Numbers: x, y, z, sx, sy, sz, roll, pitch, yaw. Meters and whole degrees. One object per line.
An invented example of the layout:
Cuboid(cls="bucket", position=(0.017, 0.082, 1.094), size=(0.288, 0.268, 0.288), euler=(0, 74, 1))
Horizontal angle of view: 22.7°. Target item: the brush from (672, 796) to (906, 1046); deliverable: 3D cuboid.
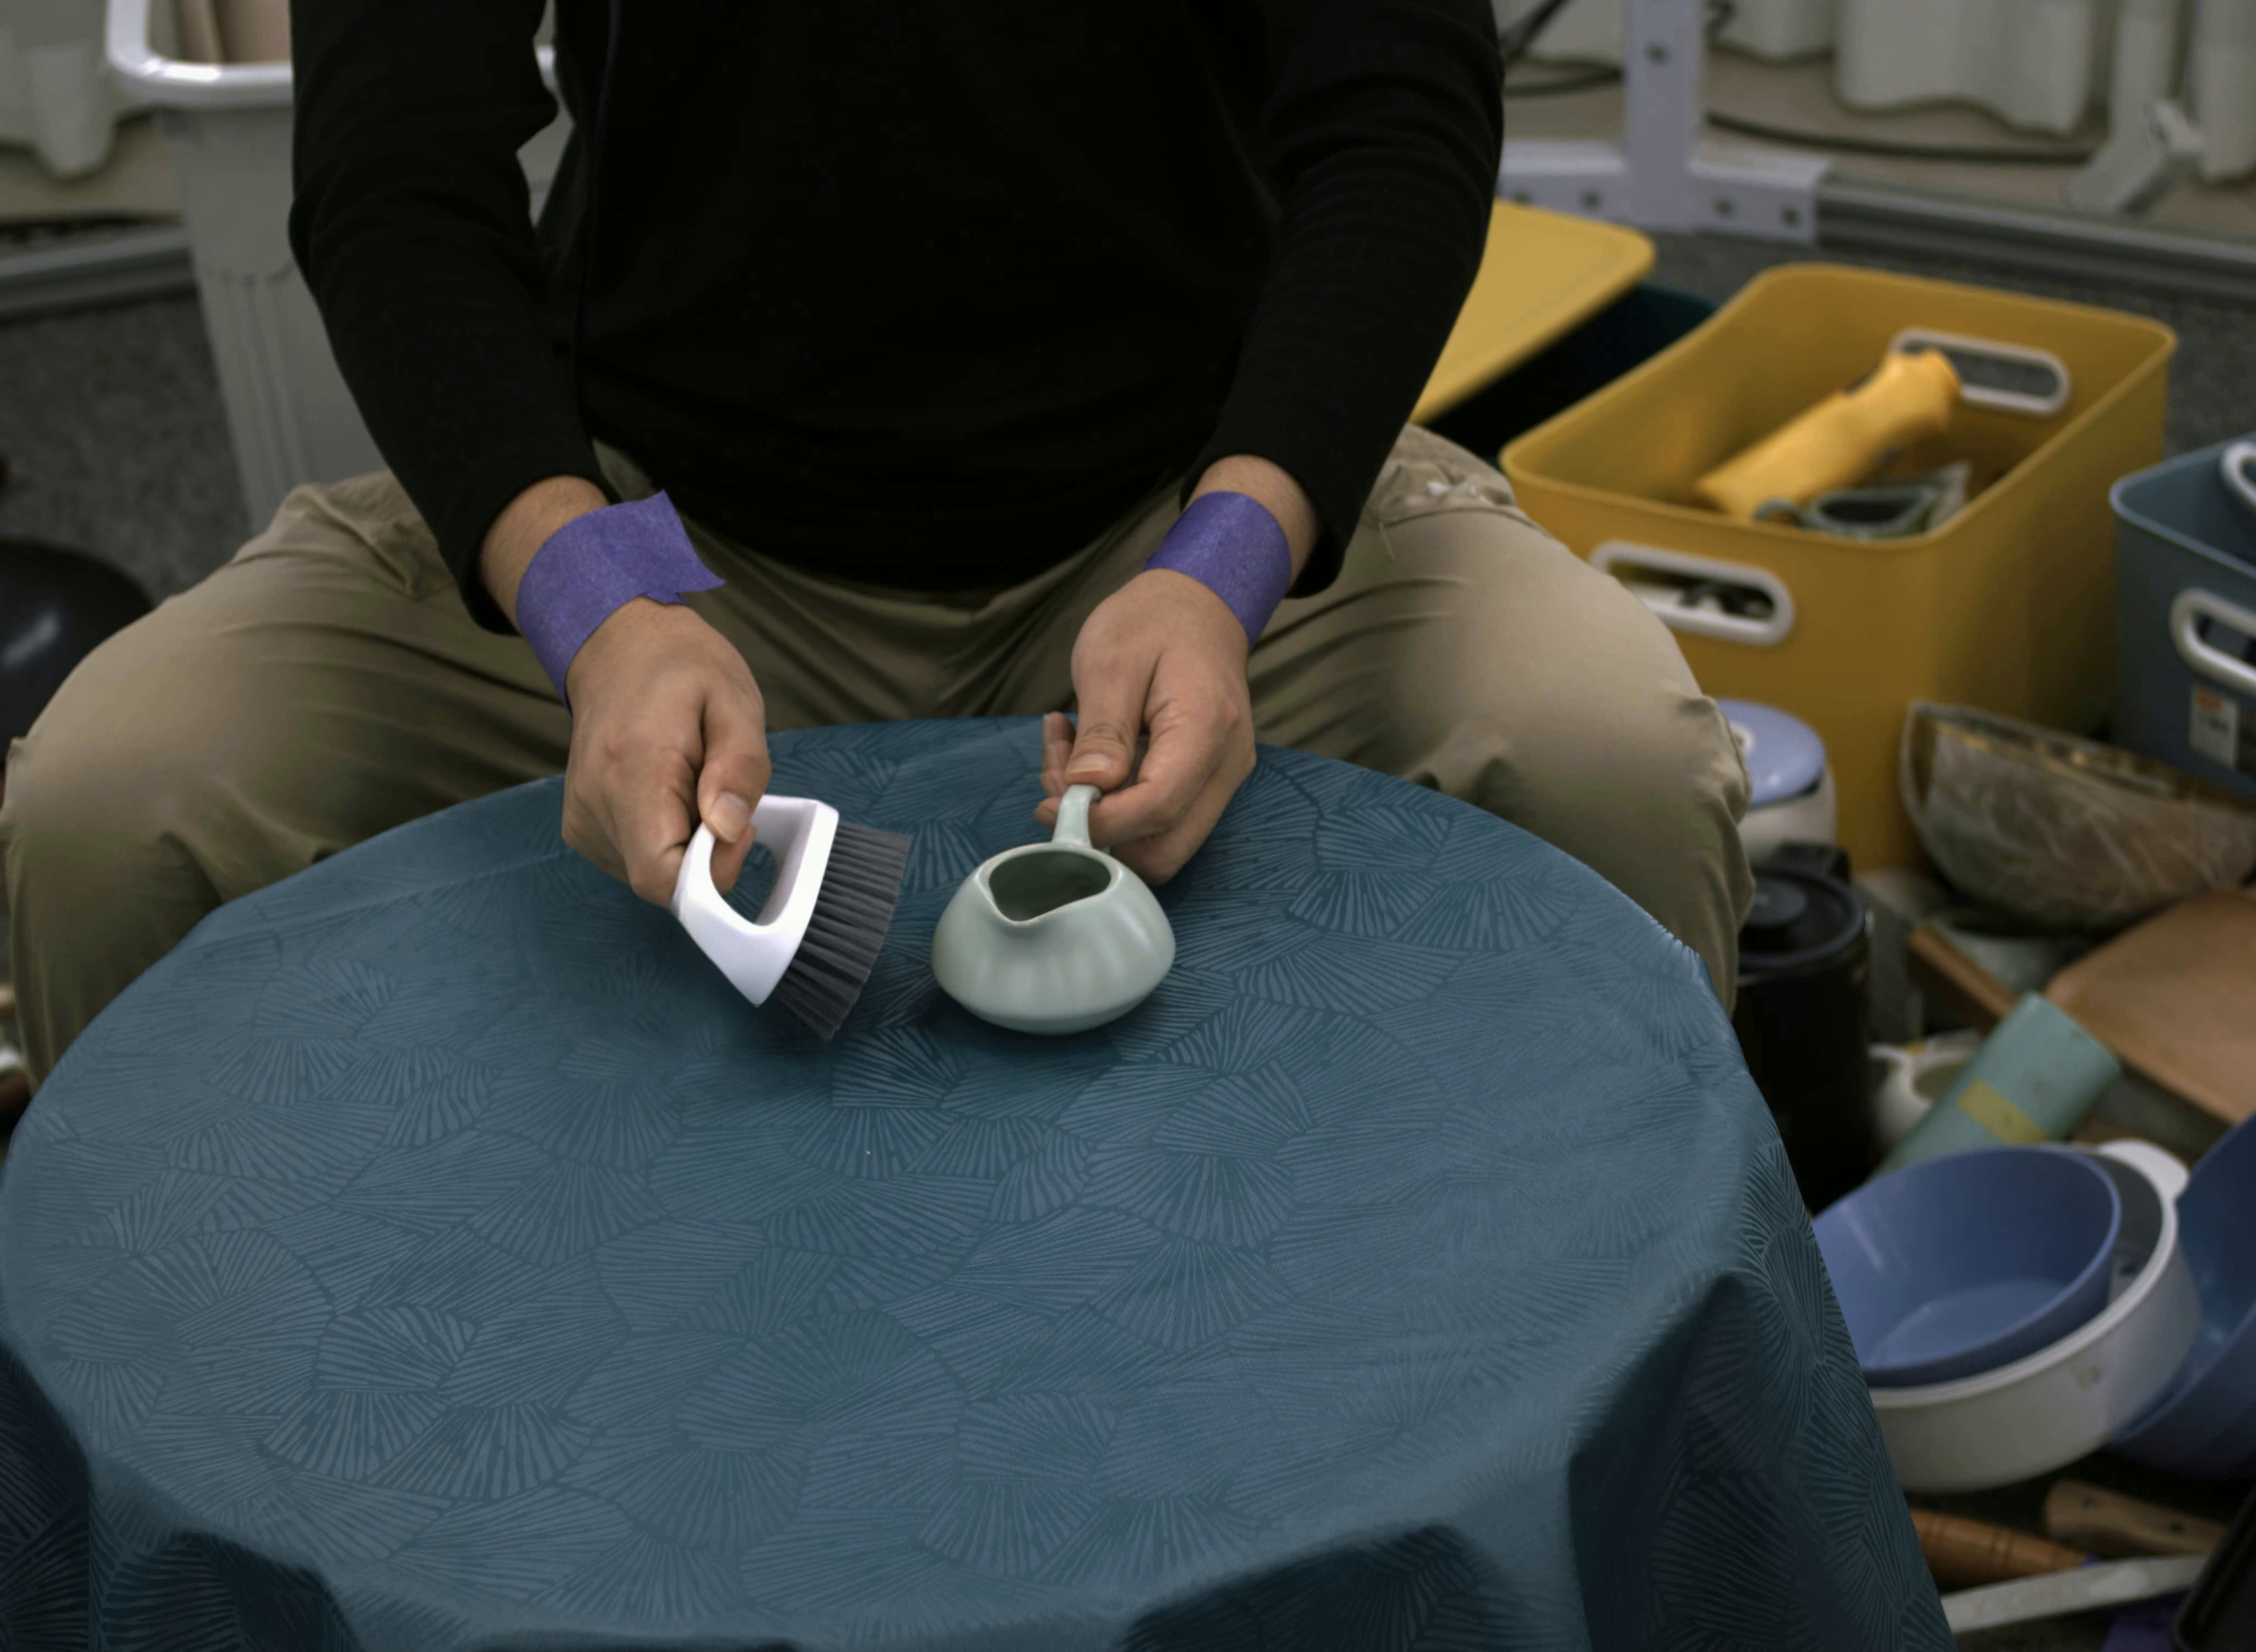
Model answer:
Cuboid(cls="brush", position=(-0.123, 0.026, 1.967), size=(0.072, 0.049, 0.101), euler=(27, 32, -9))

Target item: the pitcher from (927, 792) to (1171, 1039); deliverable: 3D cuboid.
Cuboid(cls="pitcher", position=(-0.025, 0.033, 1.975), size=(0.085, 0.060, 0.110), euler=(5, 26, 10))
